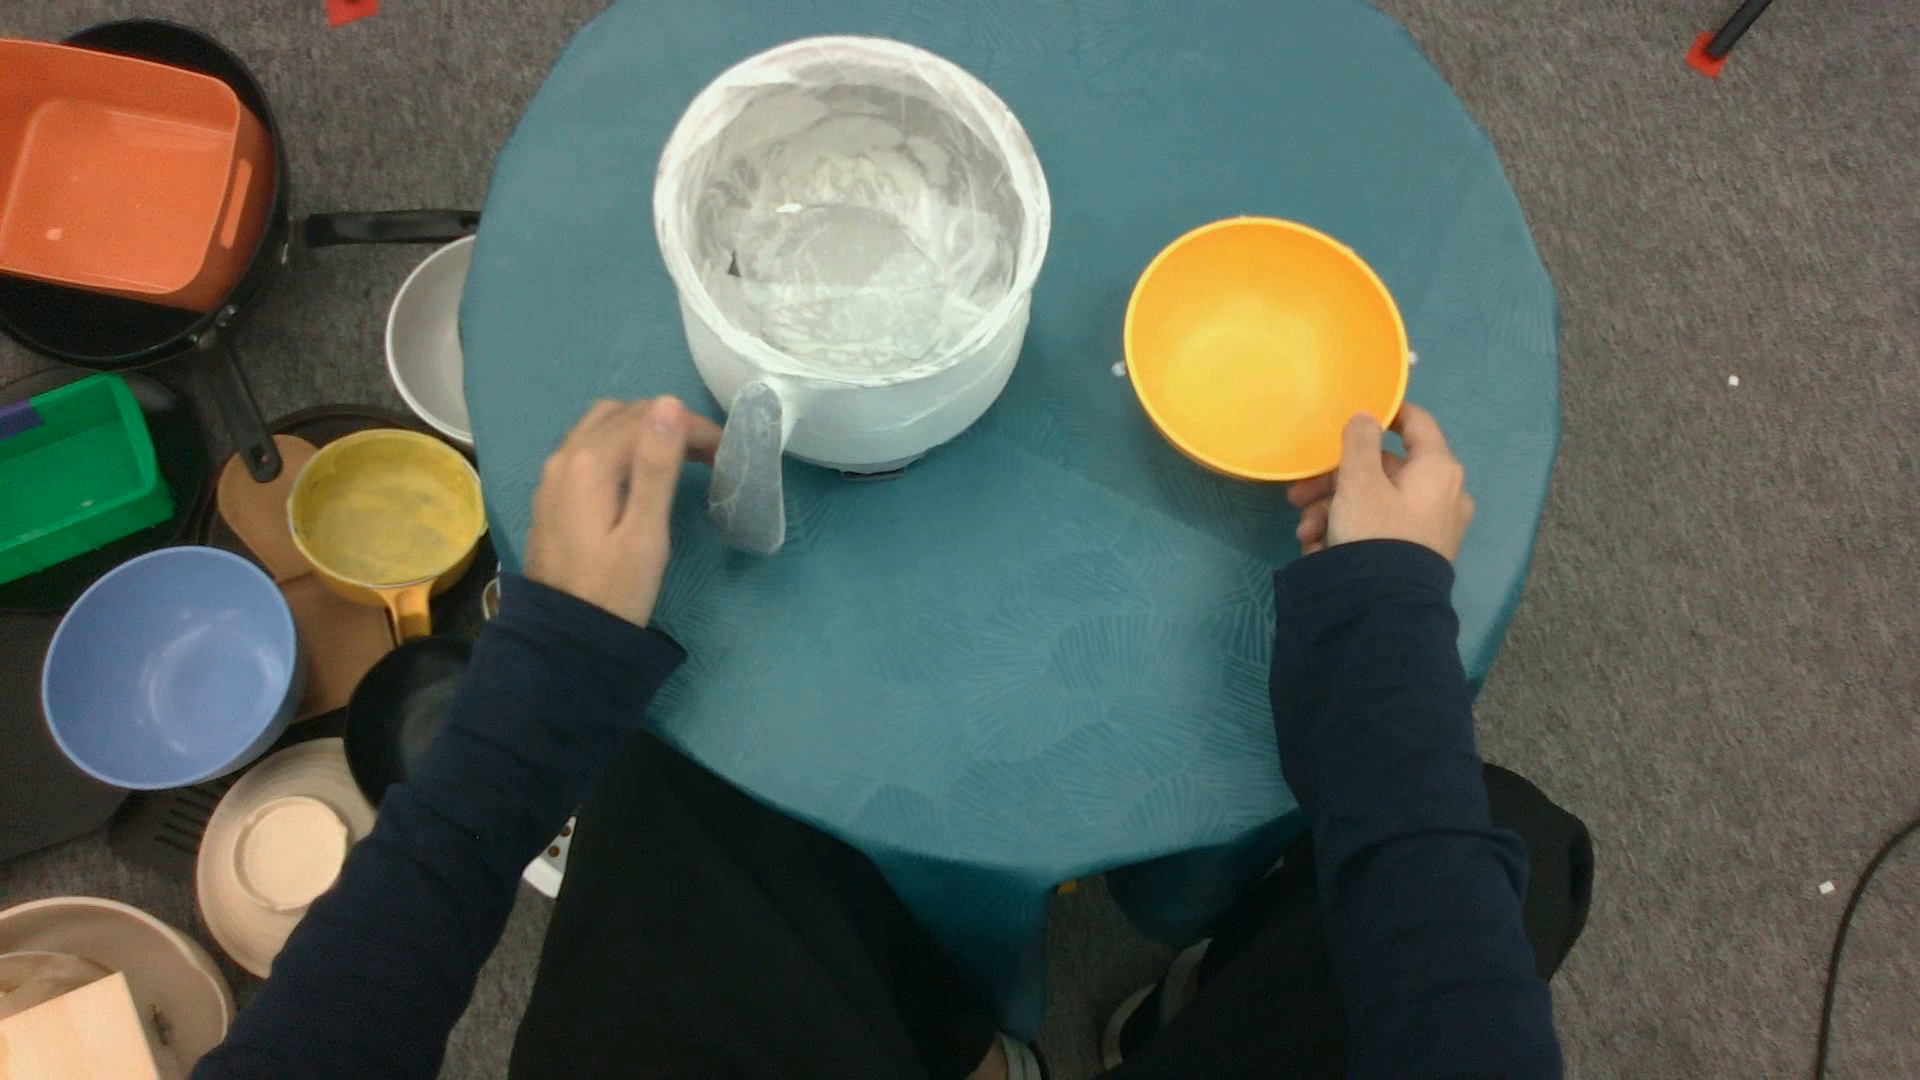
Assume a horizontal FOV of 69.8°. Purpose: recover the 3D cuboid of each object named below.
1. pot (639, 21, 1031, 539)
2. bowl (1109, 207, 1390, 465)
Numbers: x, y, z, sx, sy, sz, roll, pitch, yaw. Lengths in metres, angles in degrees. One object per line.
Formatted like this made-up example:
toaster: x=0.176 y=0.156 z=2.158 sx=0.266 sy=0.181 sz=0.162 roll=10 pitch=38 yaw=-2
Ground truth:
pot: x=-0.071 y=-0.116 z=0.673 sx=0.179 sy=0.136 sz=0.234 roll=22 pitch=74 yaw=2
bowl: x=0.145 y=-0.098 z=0.724 sx=0.145 sy=0.060 sz=0.145 roll=1 pitch=72 yaw=-4
